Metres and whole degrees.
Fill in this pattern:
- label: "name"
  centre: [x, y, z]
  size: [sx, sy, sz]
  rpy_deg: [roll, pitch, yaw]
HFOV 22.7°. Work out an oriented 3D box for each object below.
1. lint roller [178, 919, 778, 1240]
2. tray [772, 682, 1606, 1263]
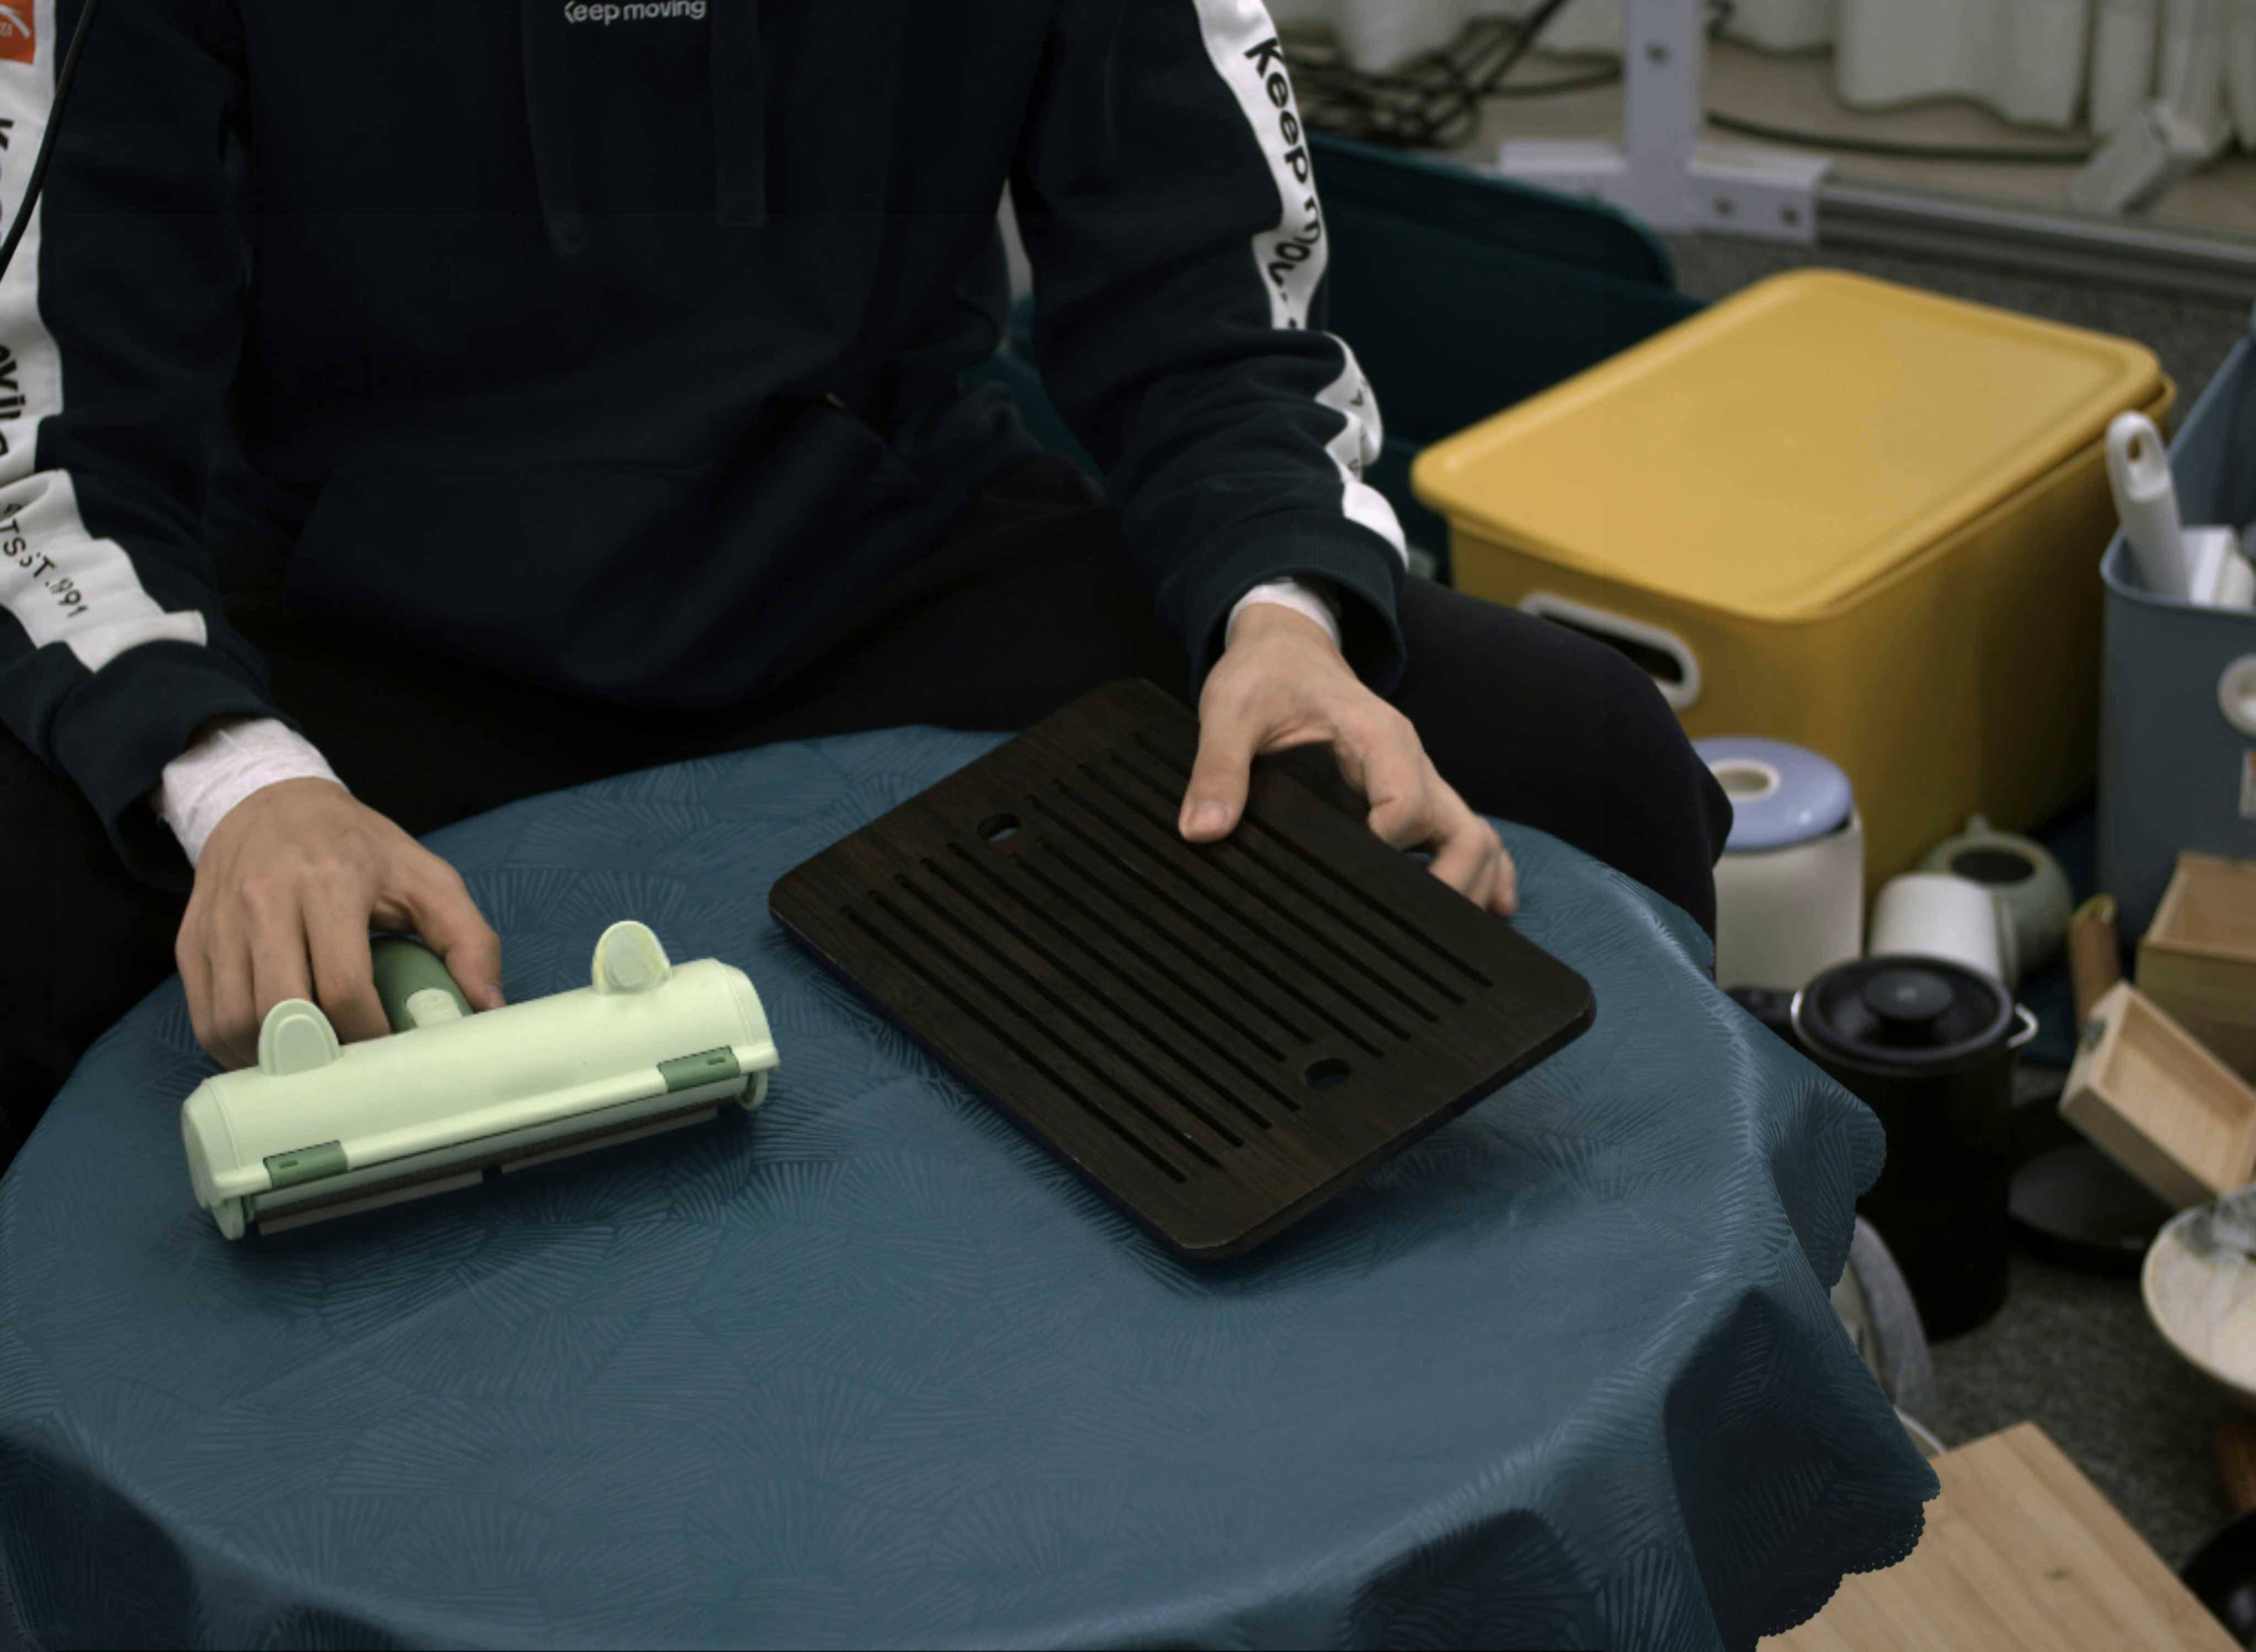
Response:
- label: "lint roller"
  centre: [-0.238, 0.060, 1.917]
  size: [0.199, 0.081, 0.185]
  rpy_deg: [-13, 32, -19]
- label: "tray"
  centre: [0.016, 0.047, 1.944]
  size: [0.171, 0.018, 0.307]
  rpy_deg: [-30, 36, -19]
